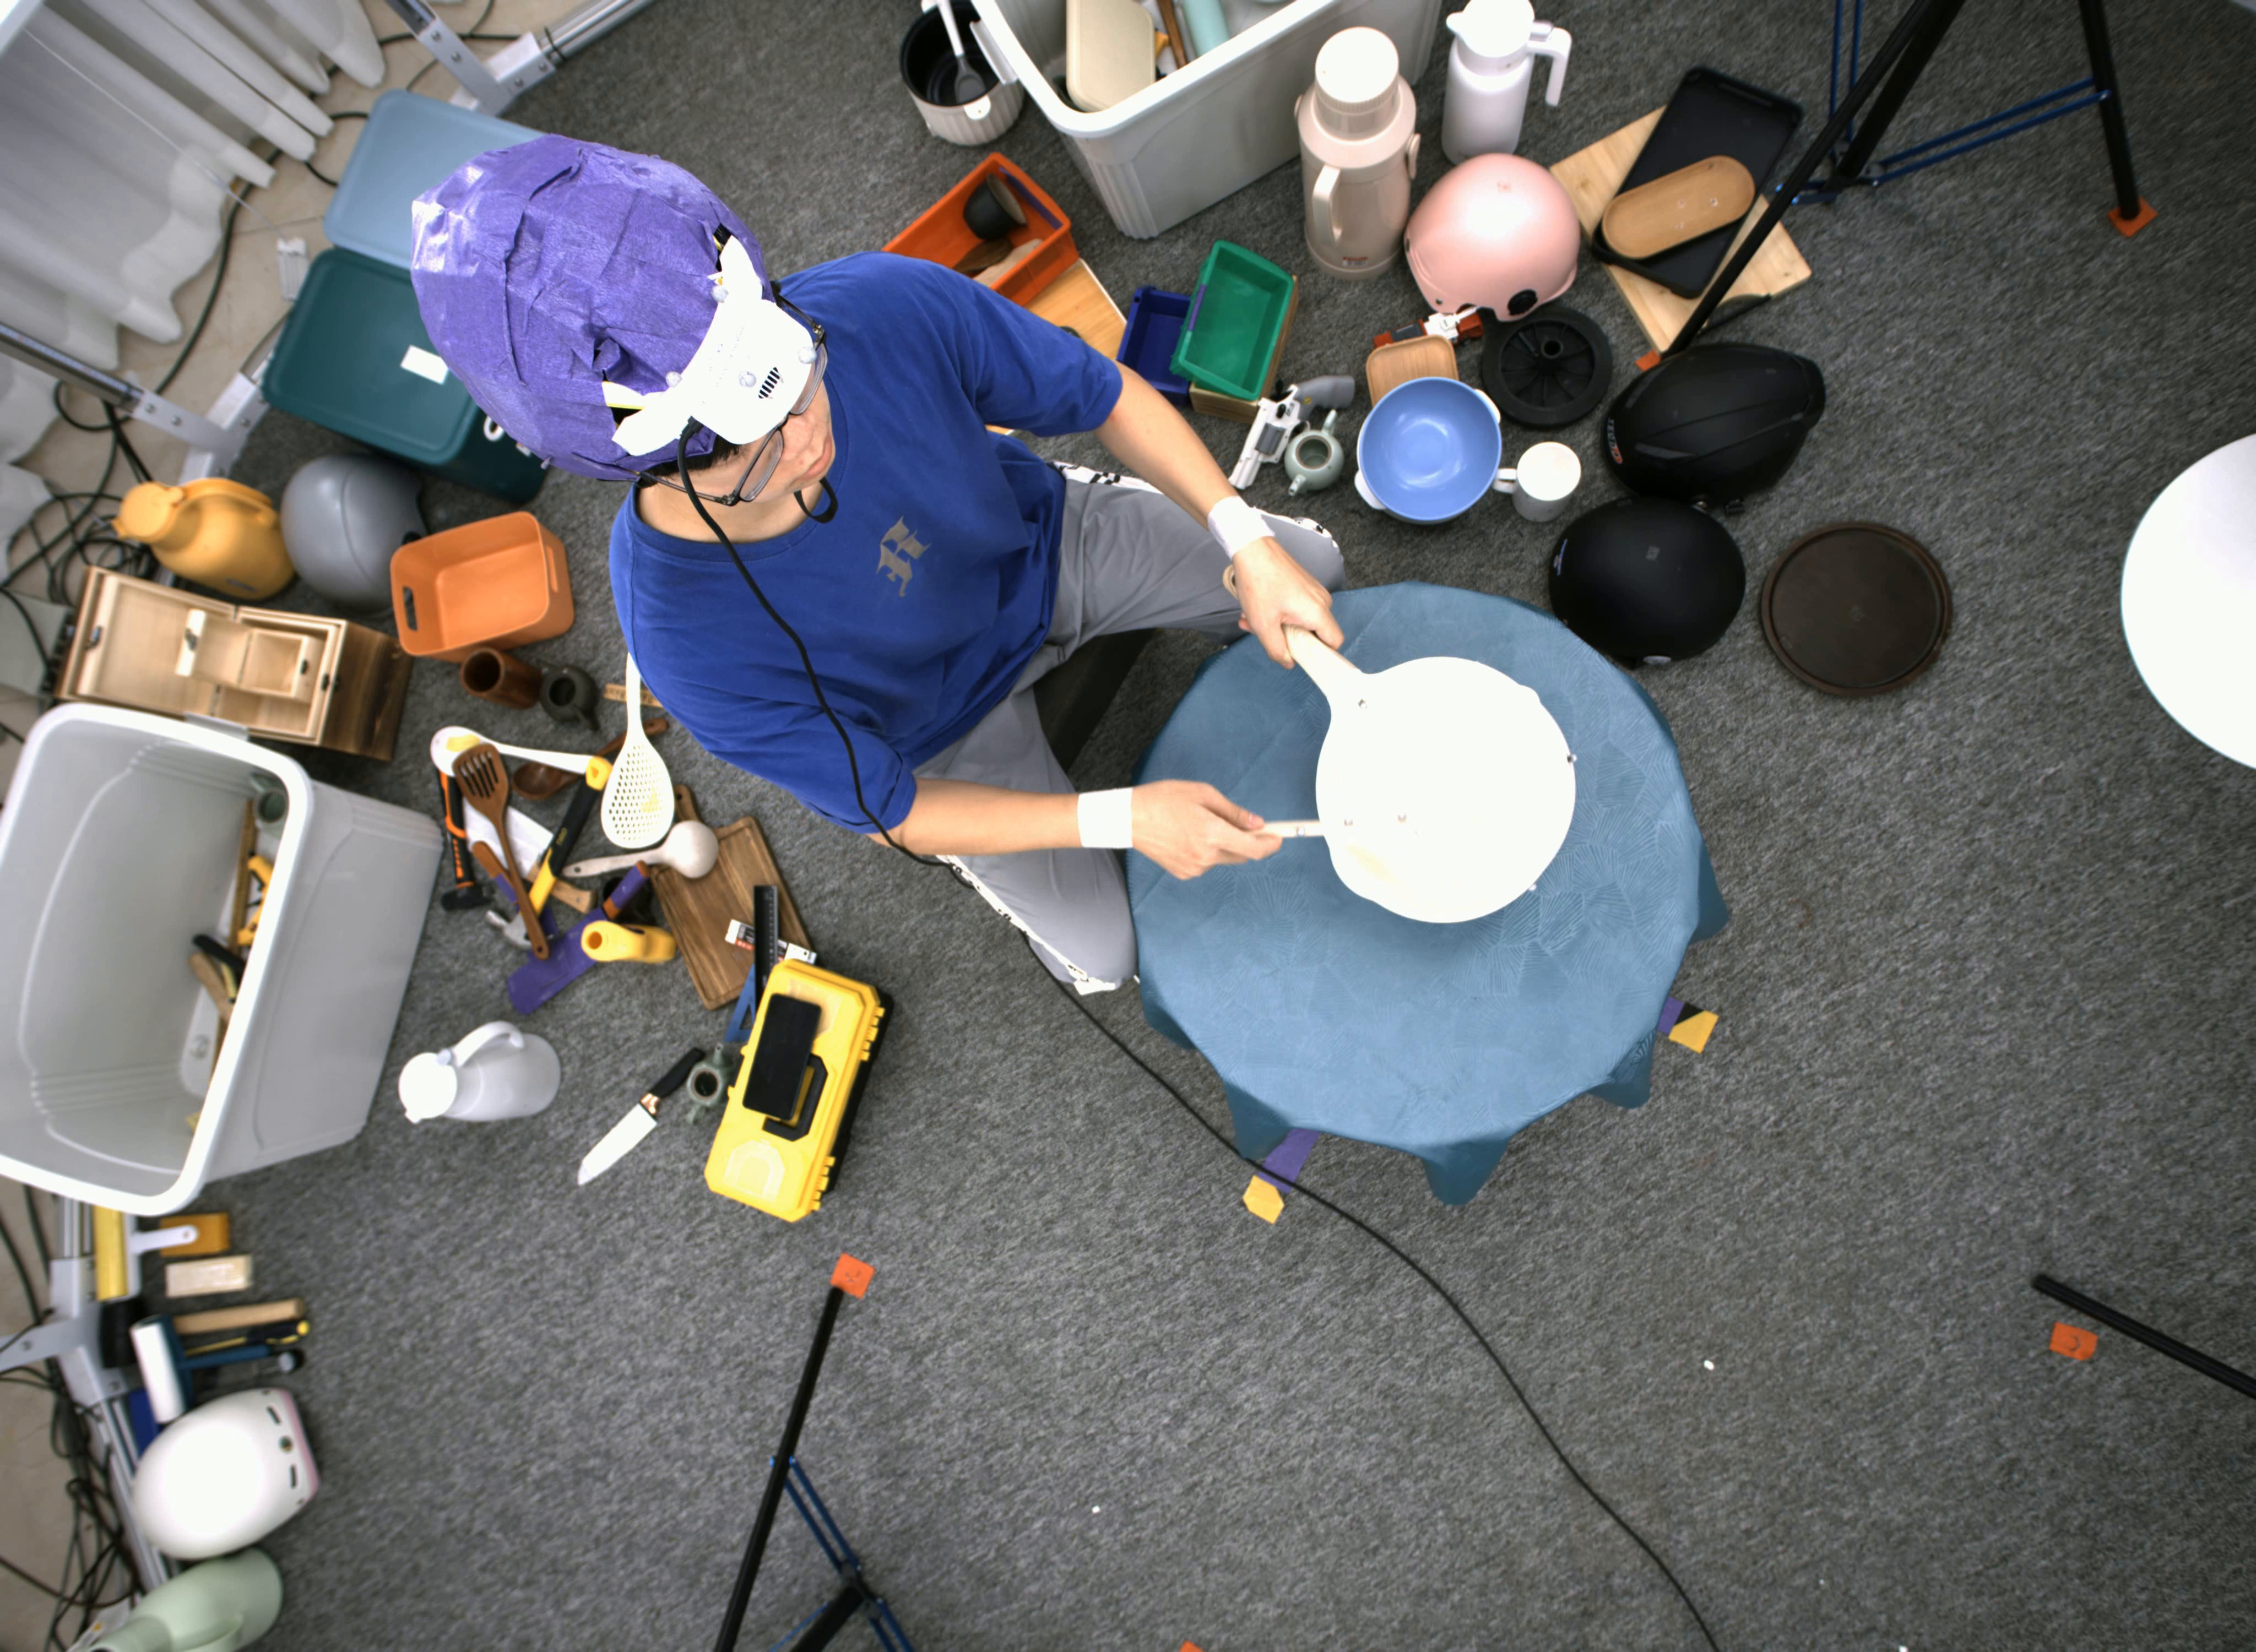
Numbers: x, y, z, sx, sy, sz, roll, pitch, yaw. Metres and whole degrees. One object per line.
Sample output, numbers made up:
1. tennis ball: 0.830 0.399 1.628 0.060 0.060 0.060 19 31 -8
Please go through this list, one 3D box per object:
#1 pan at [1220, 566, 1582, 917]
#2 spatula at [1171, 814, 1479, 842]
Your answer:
1. pan: 0.257 -0.108 1.351 0.430 0.101 0.269 50 121 19
2. spatula: 0.188 0.004 1.334 0.294 0.071 0.011 -2 106 5
